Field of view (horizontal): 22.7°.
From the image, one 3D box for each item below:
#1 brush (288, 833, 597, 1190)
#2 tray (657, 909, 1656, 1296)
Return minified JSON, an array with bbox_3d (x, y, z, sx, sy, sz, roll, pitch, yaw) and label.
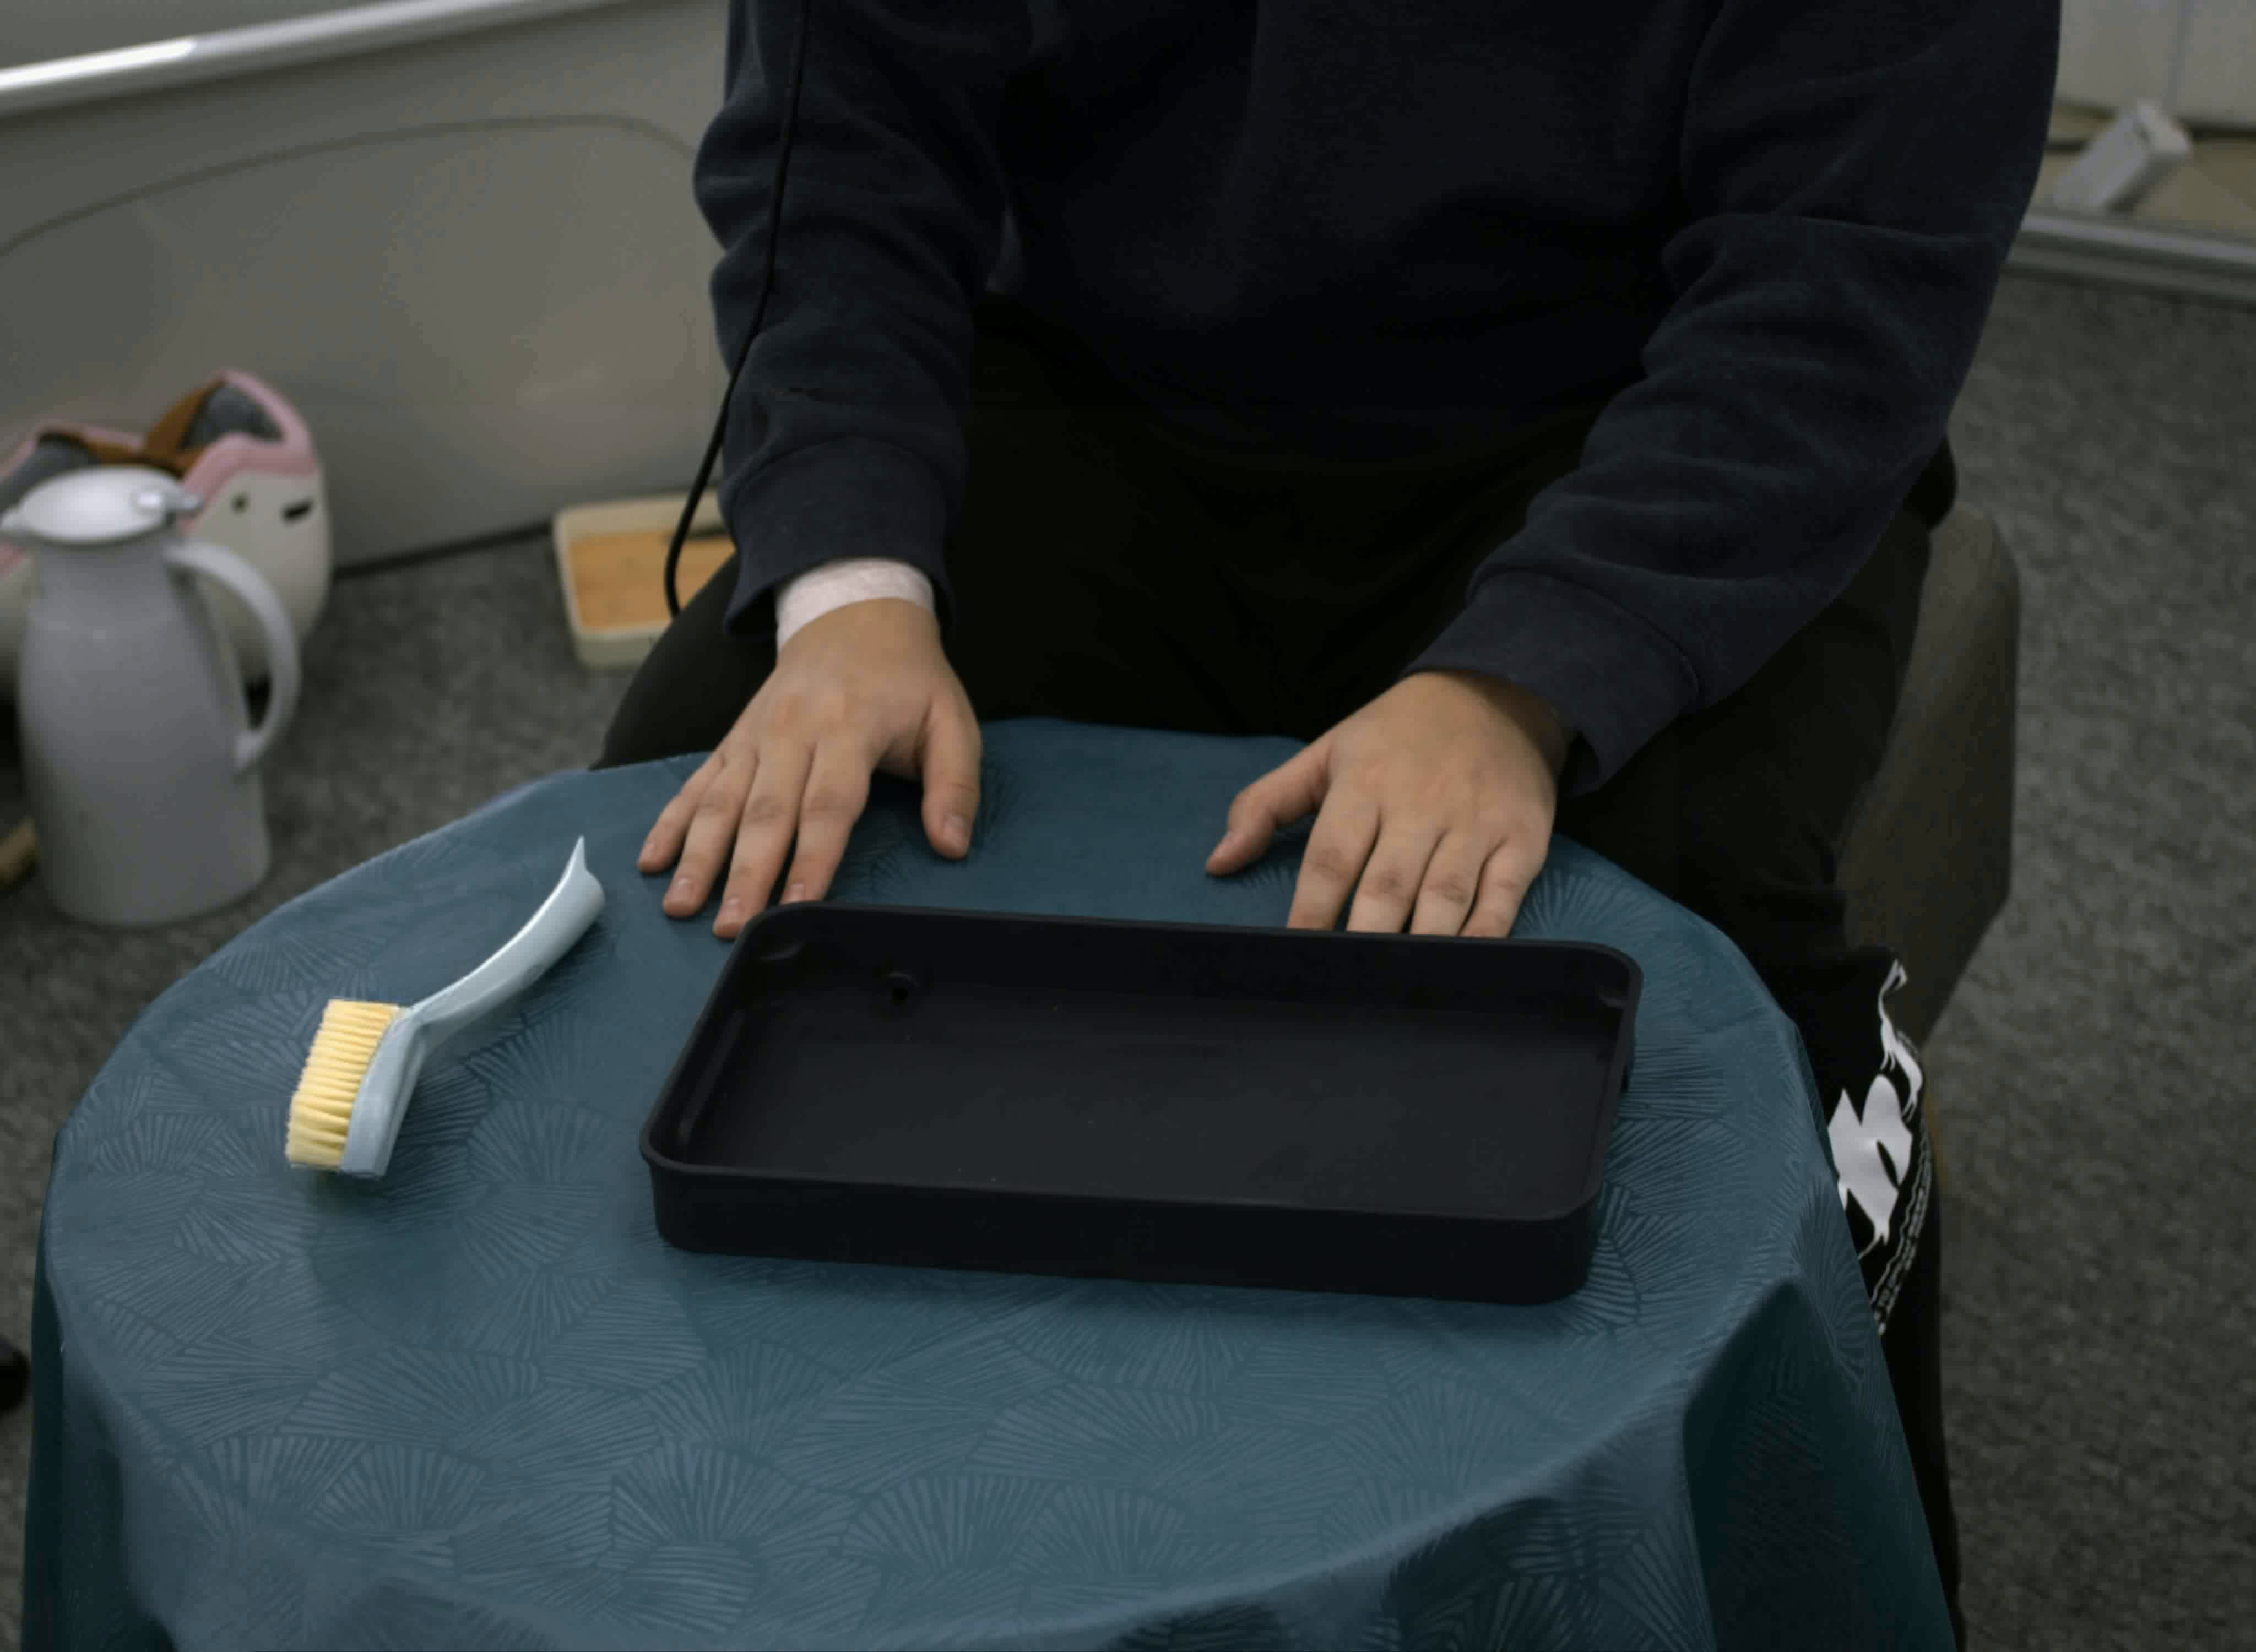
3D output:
[{"bbox_3d":[-0.240,0.058,1.968,0.049,0.037,0.232,16,30,11],"label":"brush"},{"bbox_3d":[0.014,0.090,1.885,0.316,0.036,0.187,2,27,9],"label":"tray"}]
